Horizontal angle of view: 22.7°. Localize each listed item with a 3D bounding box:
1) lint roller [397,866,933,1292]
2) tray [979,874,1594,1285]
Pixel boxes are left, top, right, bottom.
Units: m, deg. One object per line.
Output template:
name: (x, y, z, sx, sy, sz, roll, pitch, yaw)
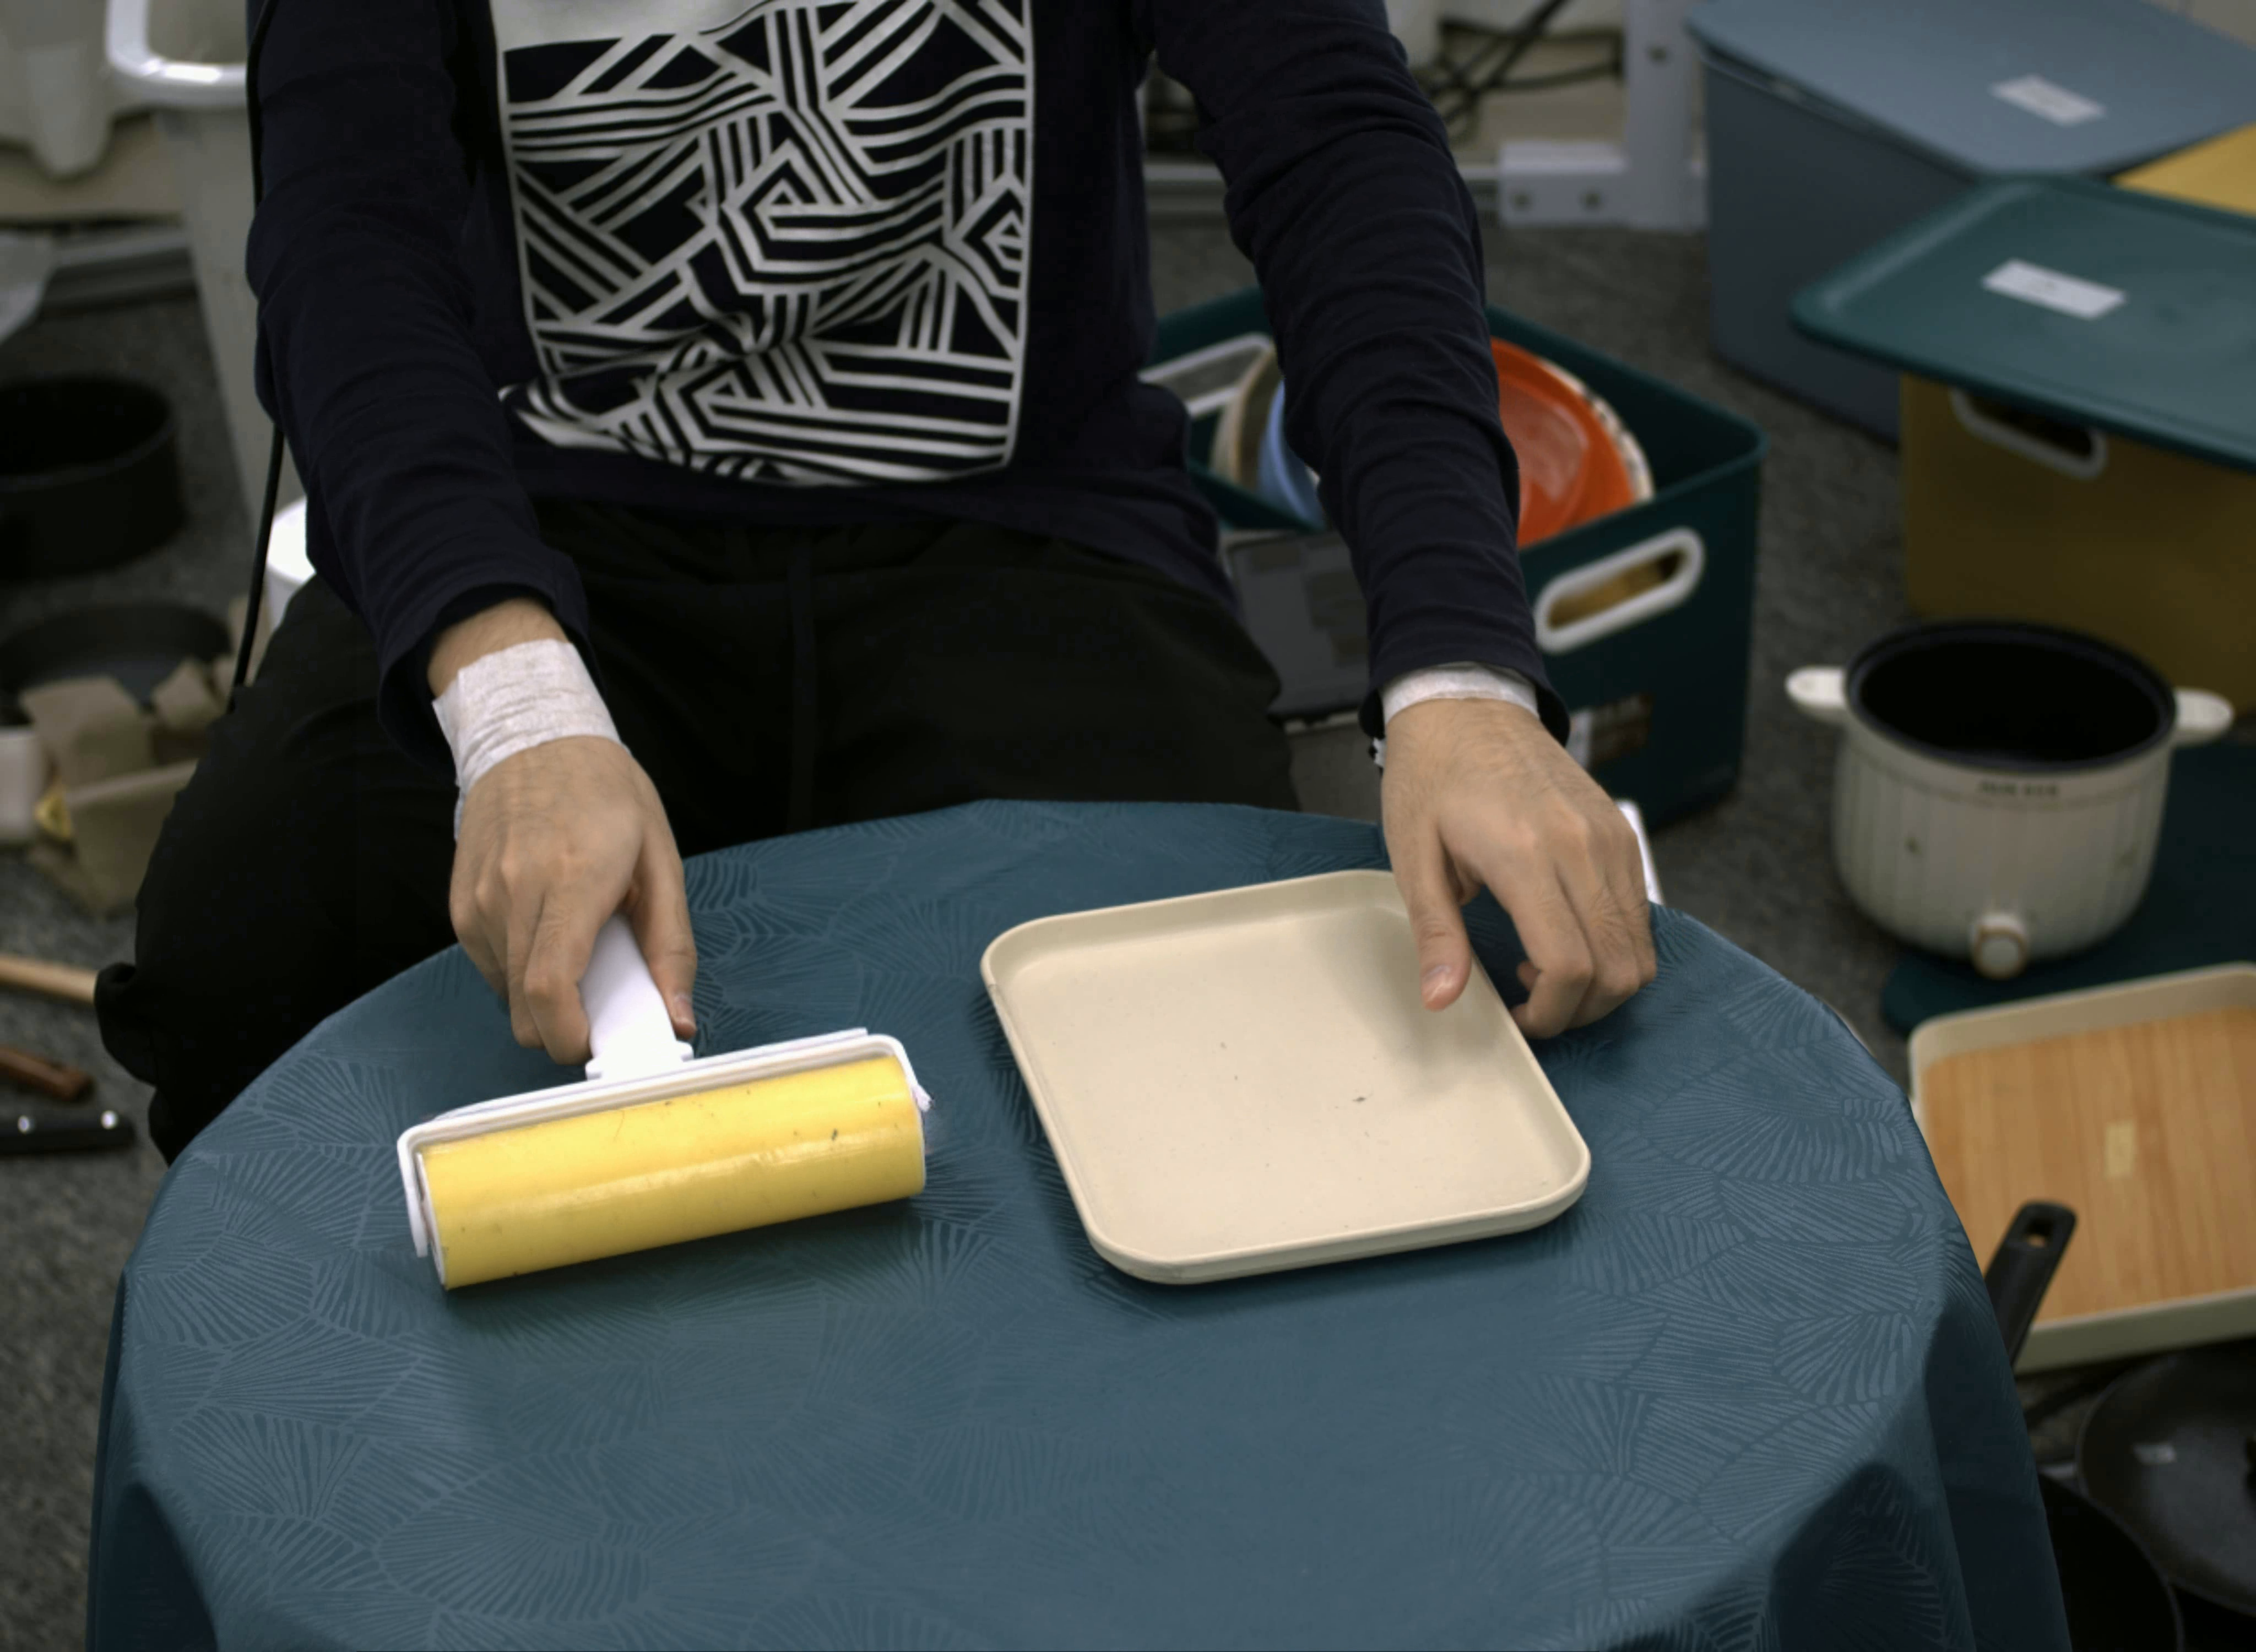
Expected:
lint roller: (-0.170, 0.068, 1.886, 0.174, 0.050, 0.195, -10, 45, -13)
tray: (0.050, 0.085, 1.909, 0.171, 0.017, 0.242, -7, 27, -10)
